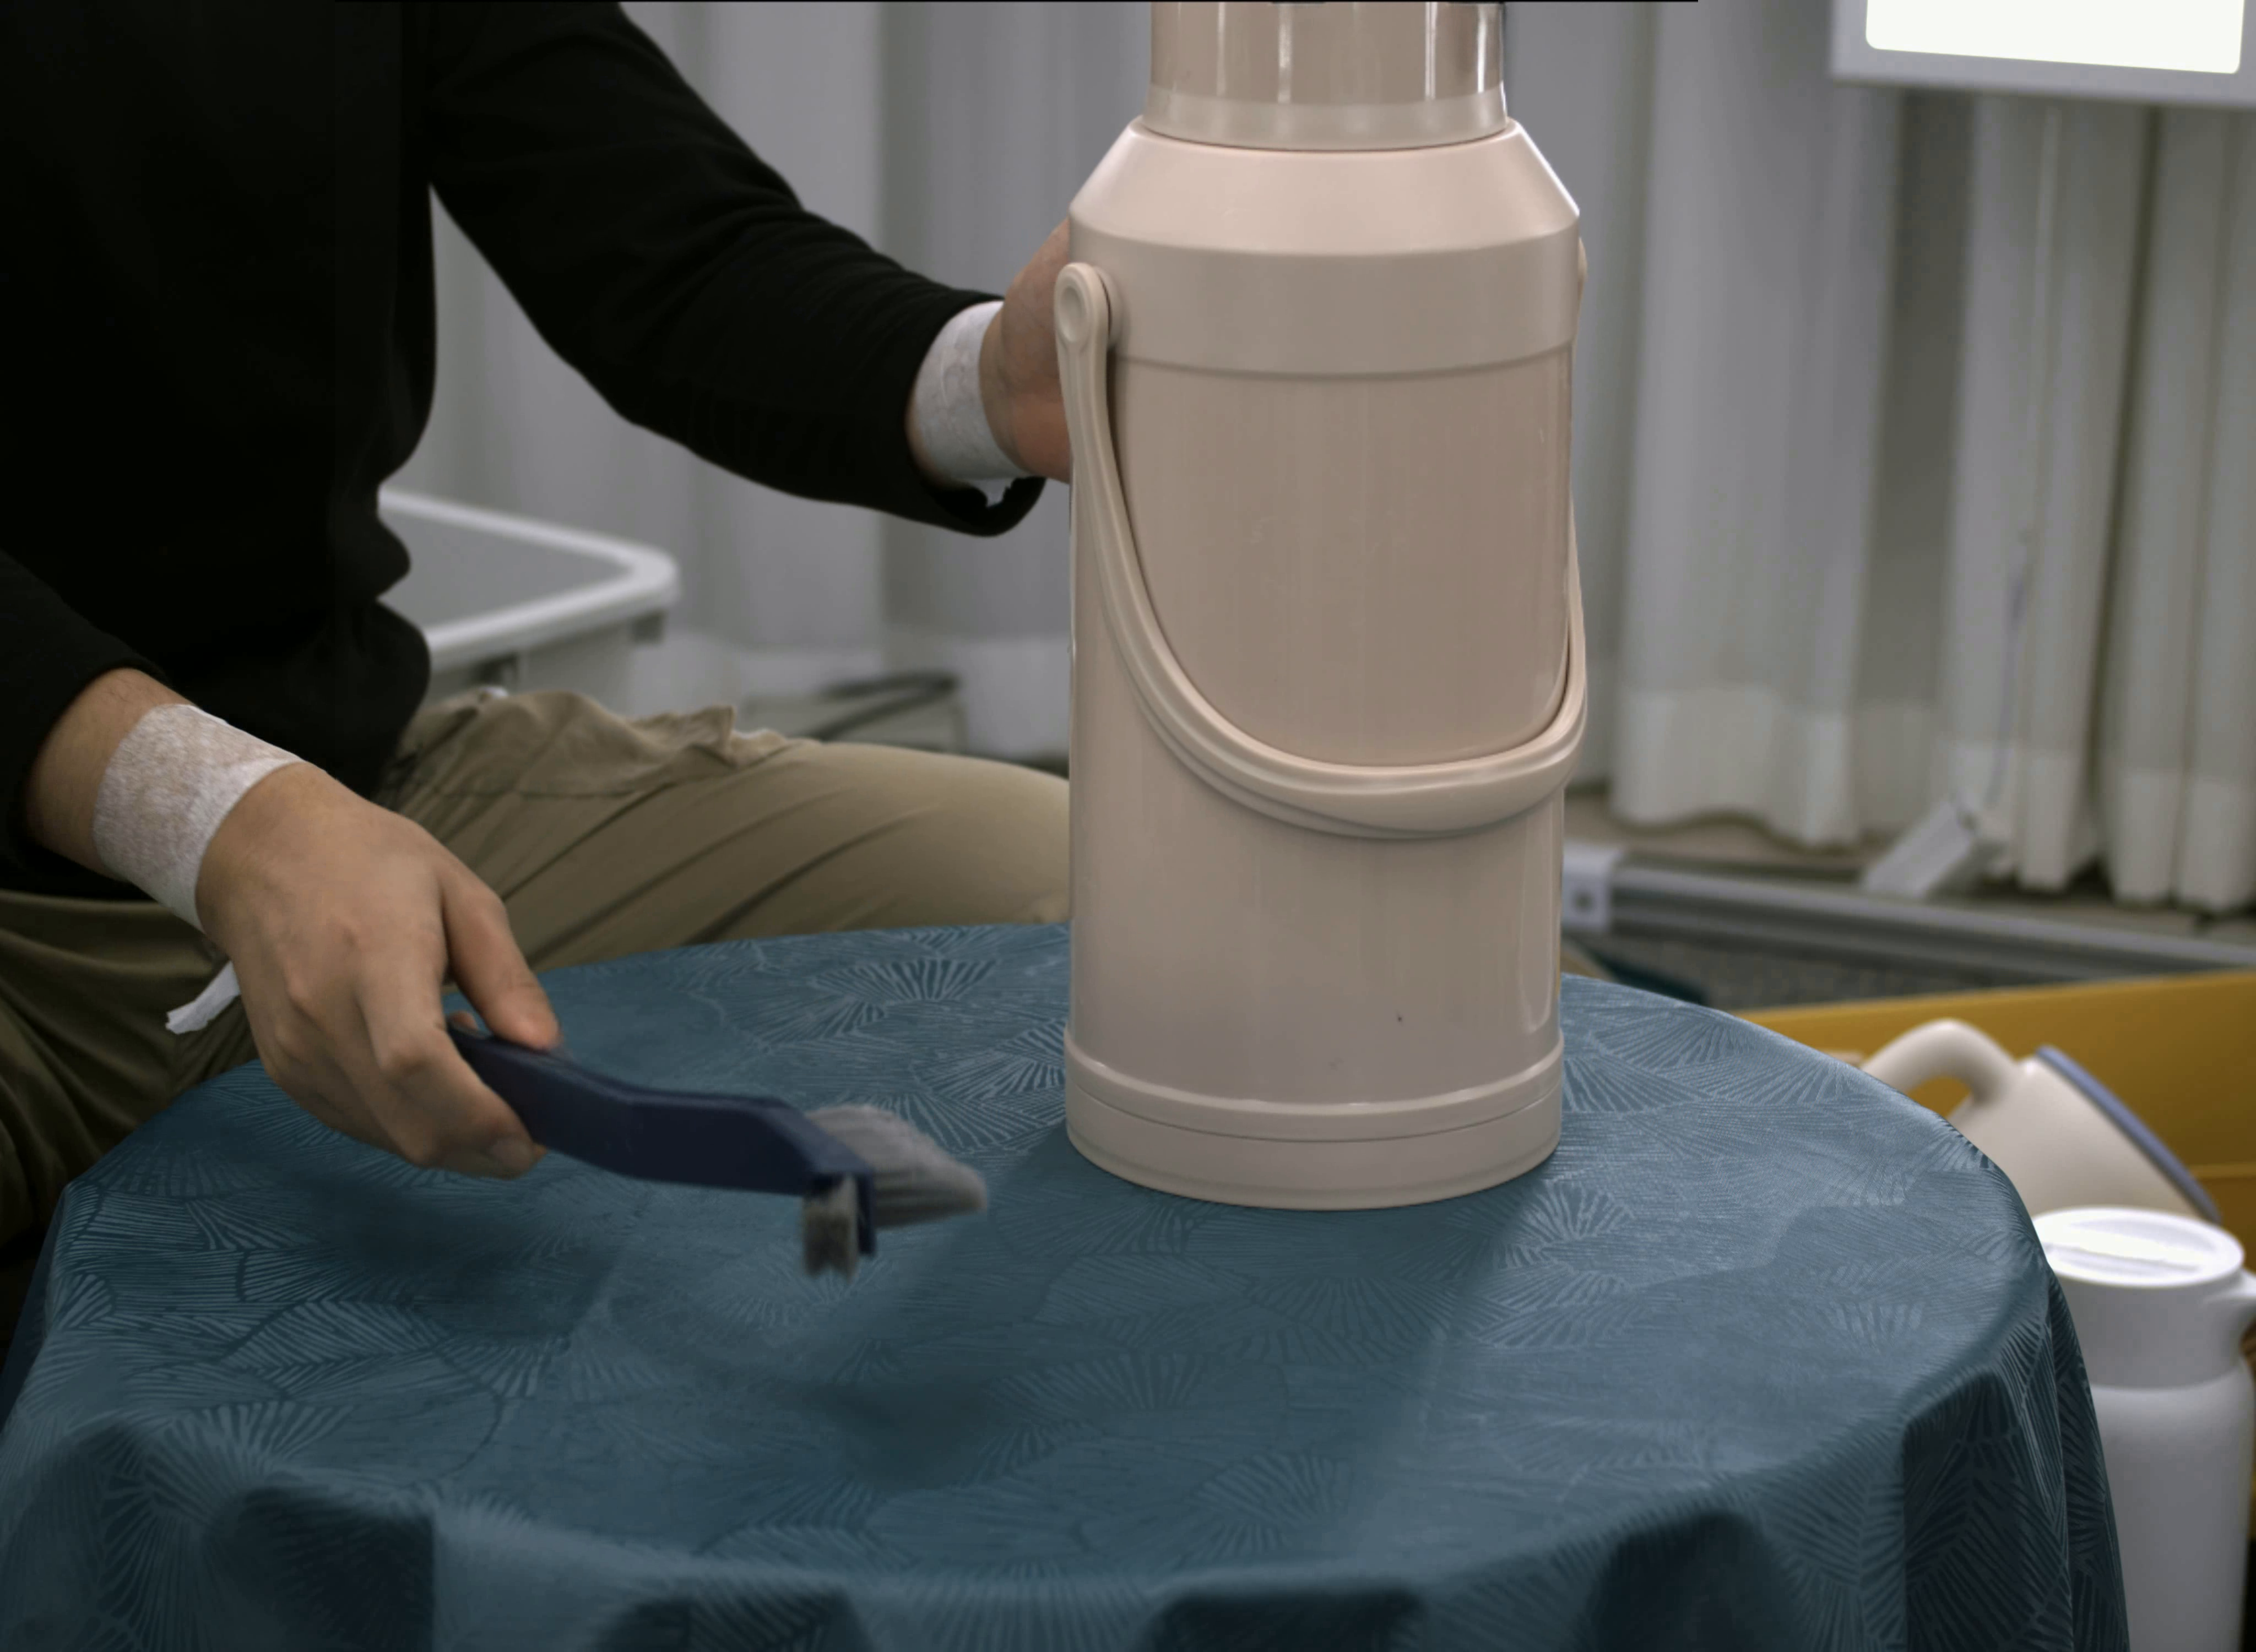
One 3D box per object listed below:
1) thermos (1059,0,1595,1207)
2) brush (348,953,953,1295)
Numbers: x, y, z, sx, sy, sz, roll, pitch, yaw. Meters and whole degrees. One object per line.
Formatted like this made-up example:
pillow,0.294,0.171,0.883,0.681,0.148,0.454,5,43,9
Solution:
thermos,0.056,-0.098,1.637,0.176,0.410,0.204,-10,20,-28
brush,-0.155,0.081,1.486,0.269,0.034,0.096,12,19,41
